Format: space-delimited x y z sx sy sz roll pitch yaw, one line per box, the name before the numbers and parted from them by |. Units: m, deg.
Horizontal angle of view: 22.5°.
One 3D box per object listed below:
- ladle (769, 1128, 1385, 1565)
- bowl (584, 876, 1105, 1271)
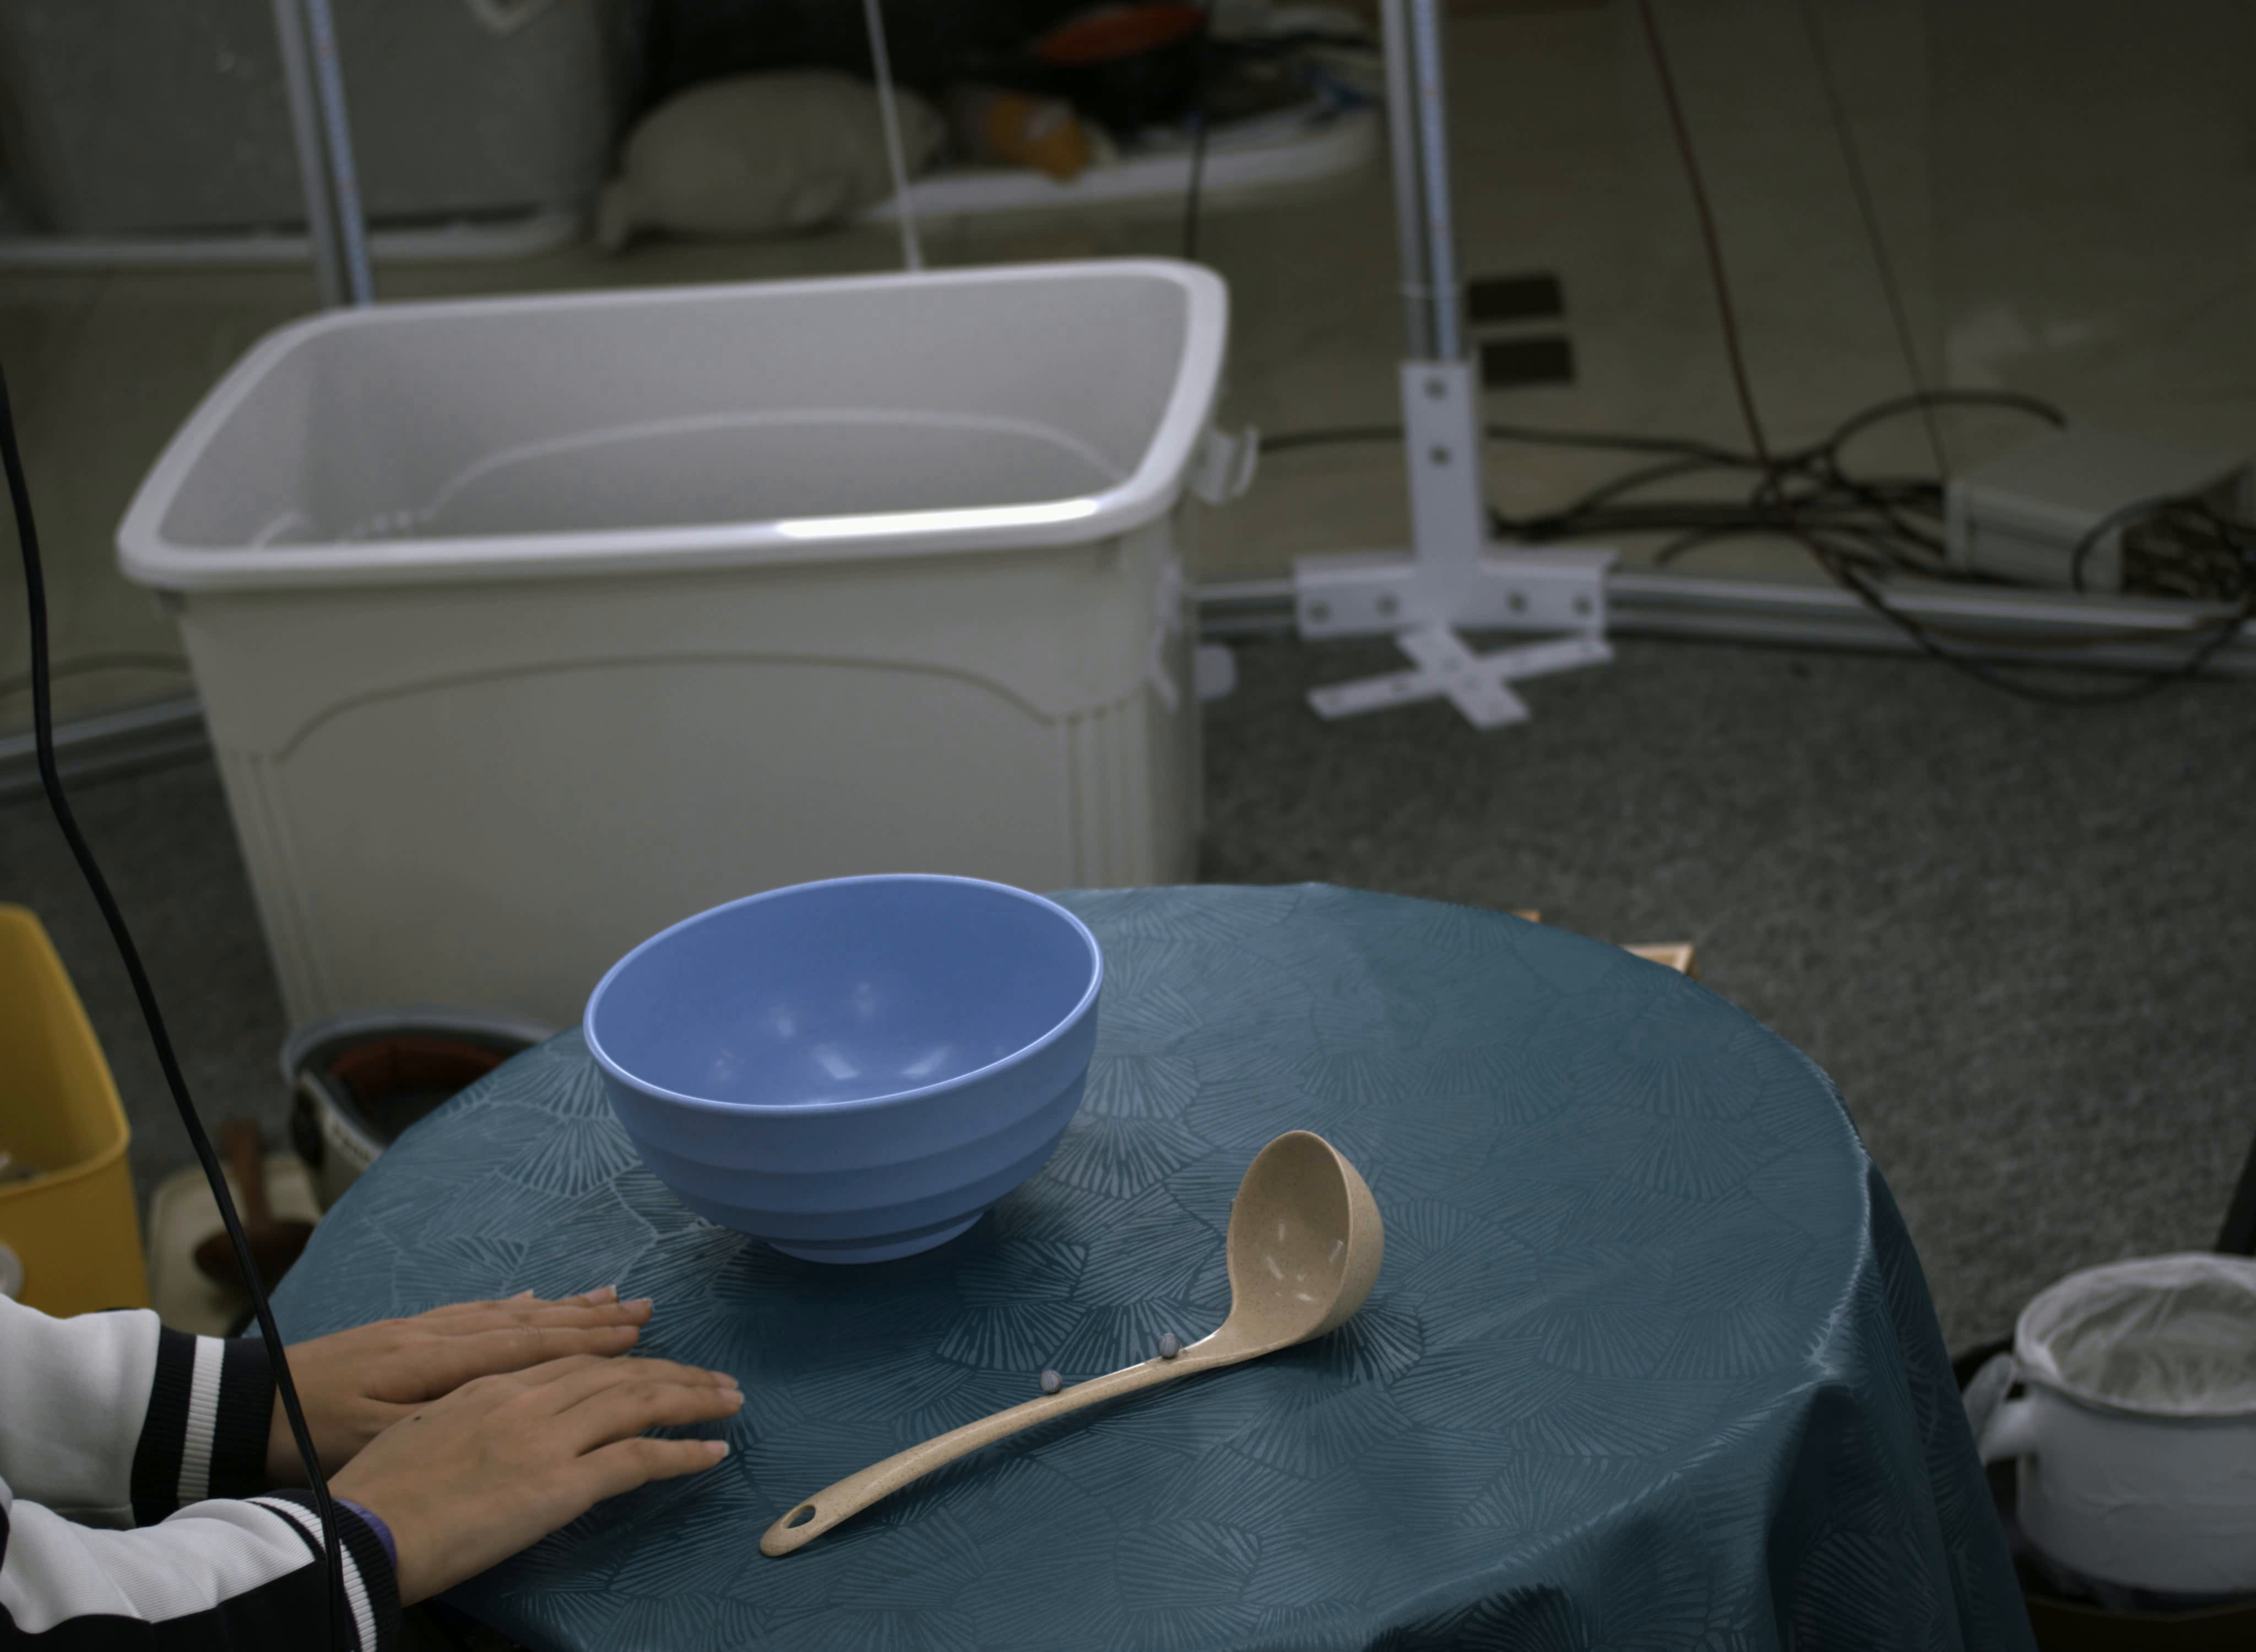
ladle | -0.022 0.178 1.982 0.253 0.074 0.071 -21 28 -28
bowl | -0.102 0.104 2.140 0.196 0.097 0.193 -4 26 2
